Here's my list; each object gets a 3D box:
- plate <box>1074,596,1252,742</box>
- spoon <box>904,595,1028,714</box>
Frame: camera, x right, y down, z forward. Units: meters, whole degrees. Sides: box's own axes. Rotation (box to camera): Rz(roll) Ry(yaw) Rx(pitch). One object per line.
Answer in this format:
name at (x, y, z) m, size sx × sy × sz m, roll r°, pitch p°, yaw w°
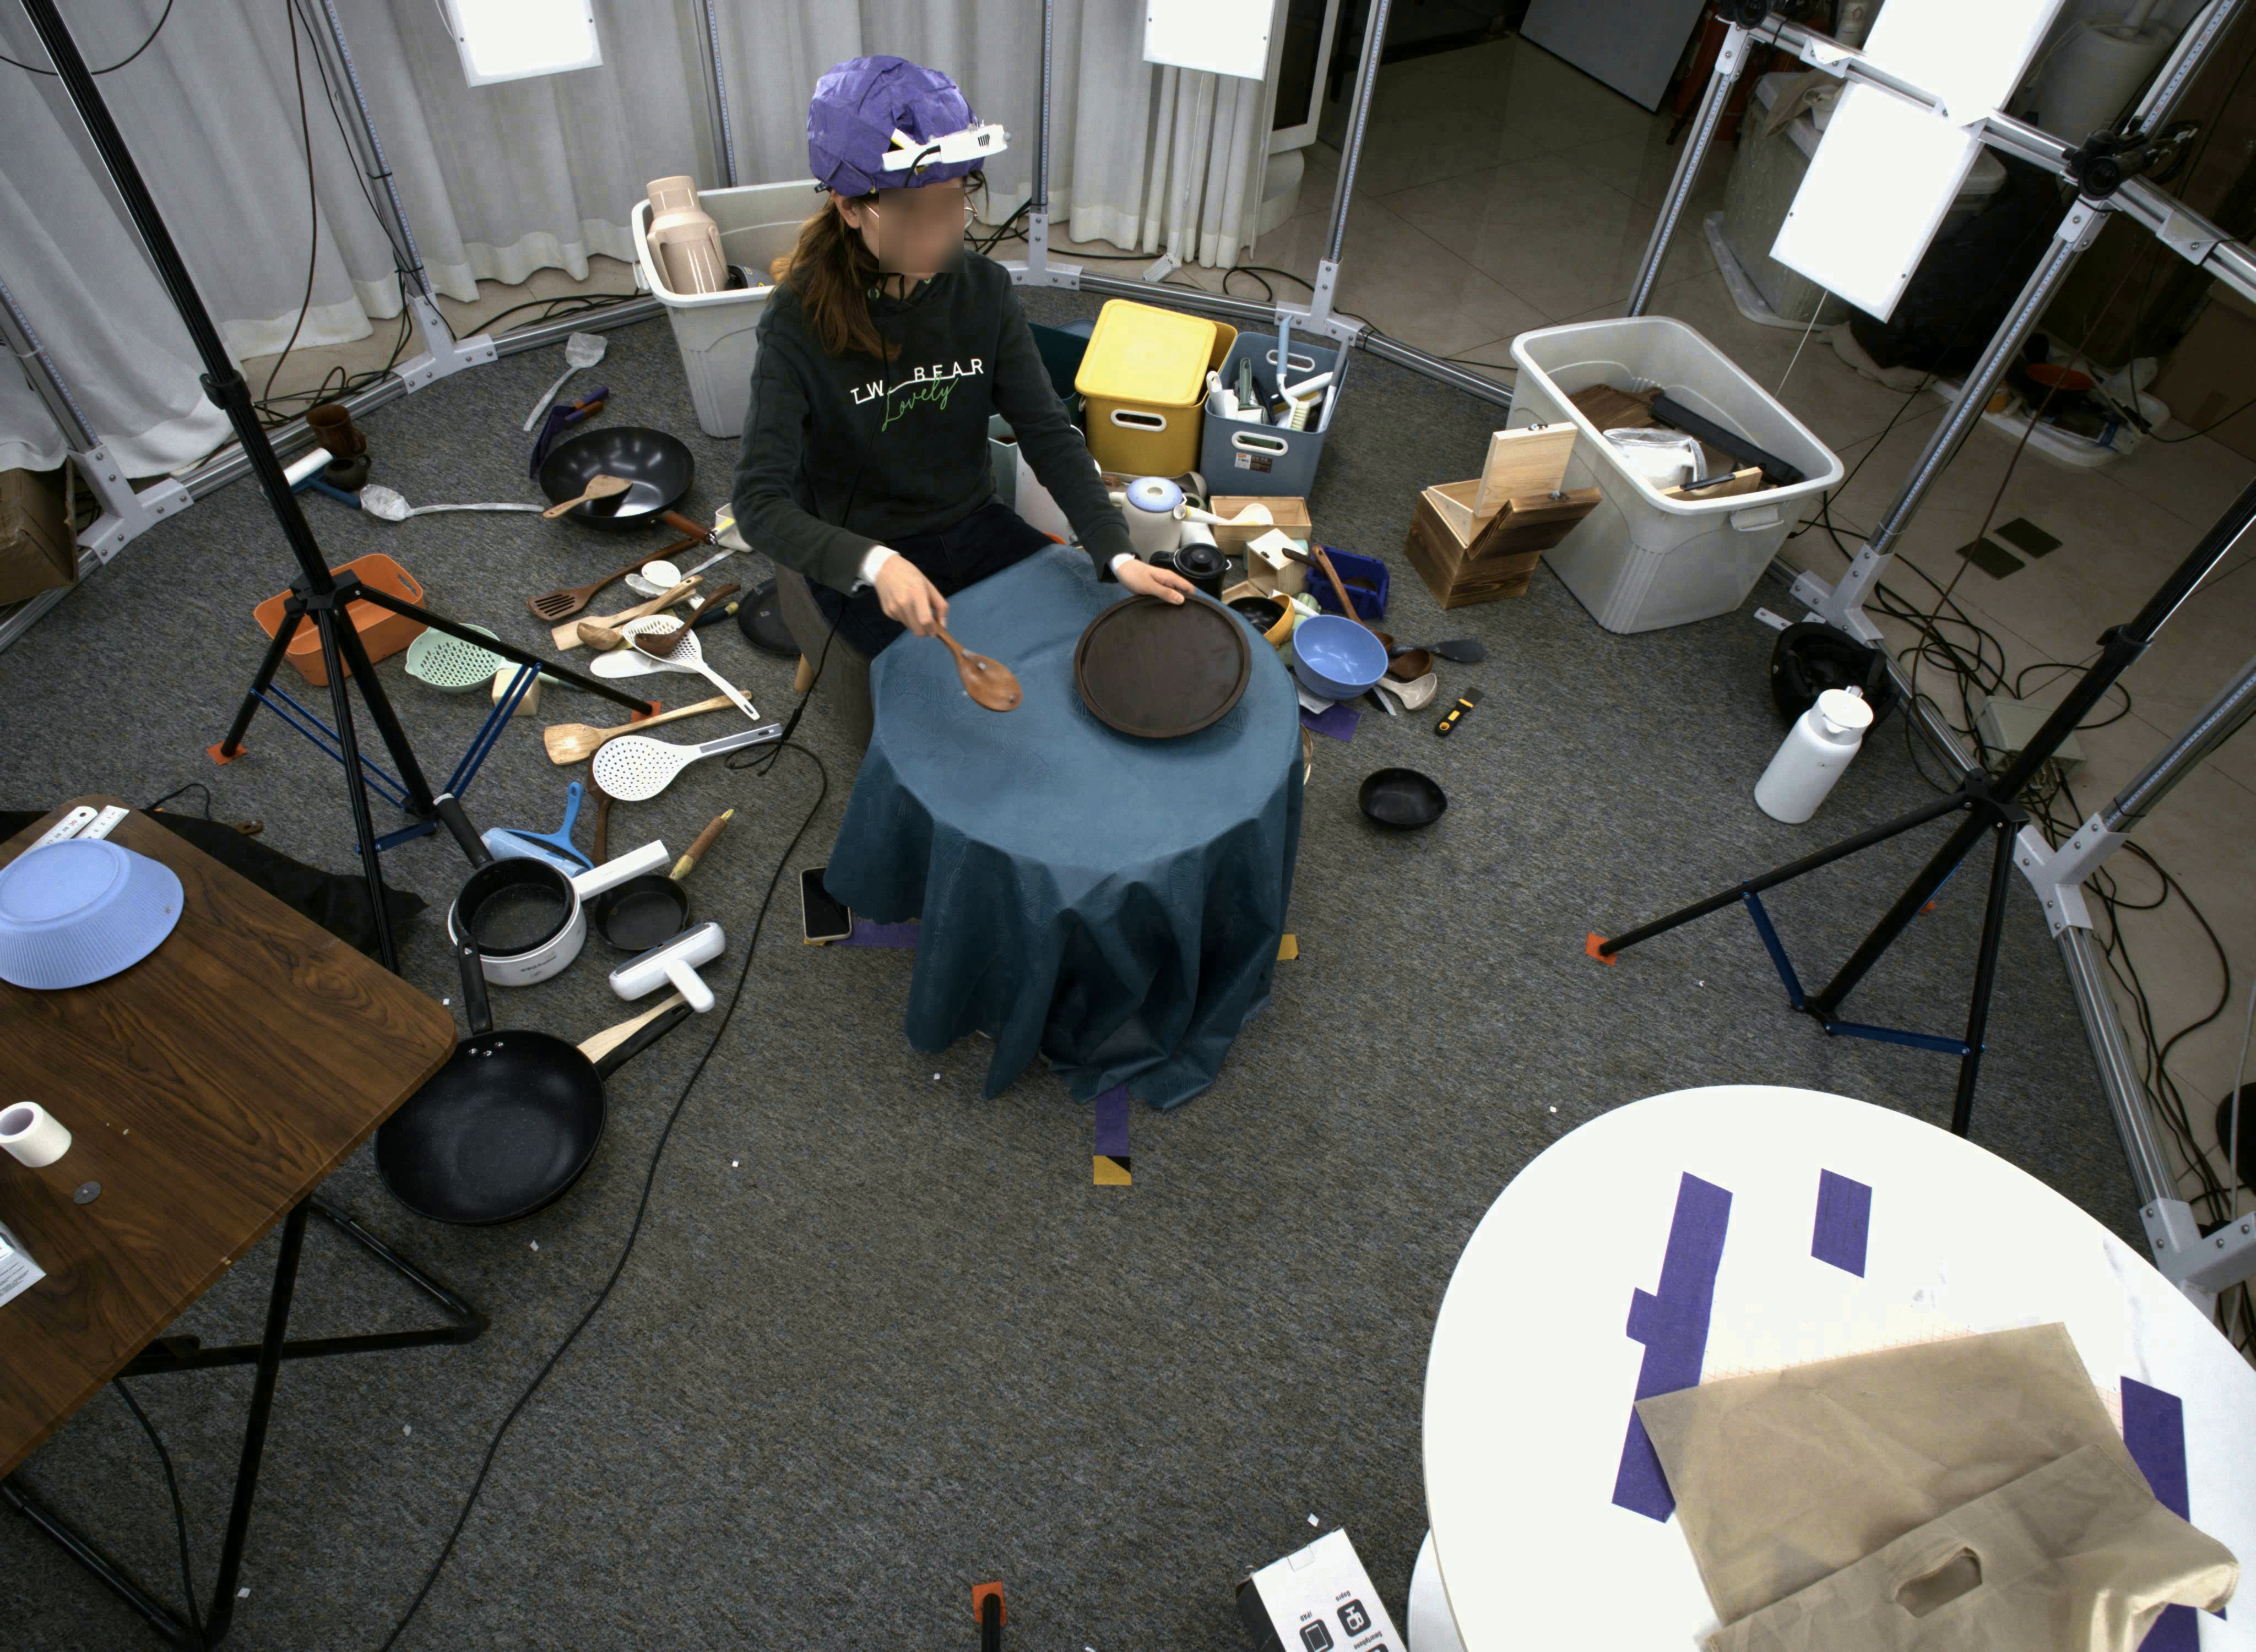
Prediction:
plate at (0.050, -0.225, 1.833) m, size 0.255 × 0.028 × 0.260 m, roll -2°, pitch 59°, yaw 3°
spoon at (-0.216, -0.226, 1.691) m, size 0.217 × 0.017 × 0.076 m, roll 46°, pitch 52°, yaw 8°
